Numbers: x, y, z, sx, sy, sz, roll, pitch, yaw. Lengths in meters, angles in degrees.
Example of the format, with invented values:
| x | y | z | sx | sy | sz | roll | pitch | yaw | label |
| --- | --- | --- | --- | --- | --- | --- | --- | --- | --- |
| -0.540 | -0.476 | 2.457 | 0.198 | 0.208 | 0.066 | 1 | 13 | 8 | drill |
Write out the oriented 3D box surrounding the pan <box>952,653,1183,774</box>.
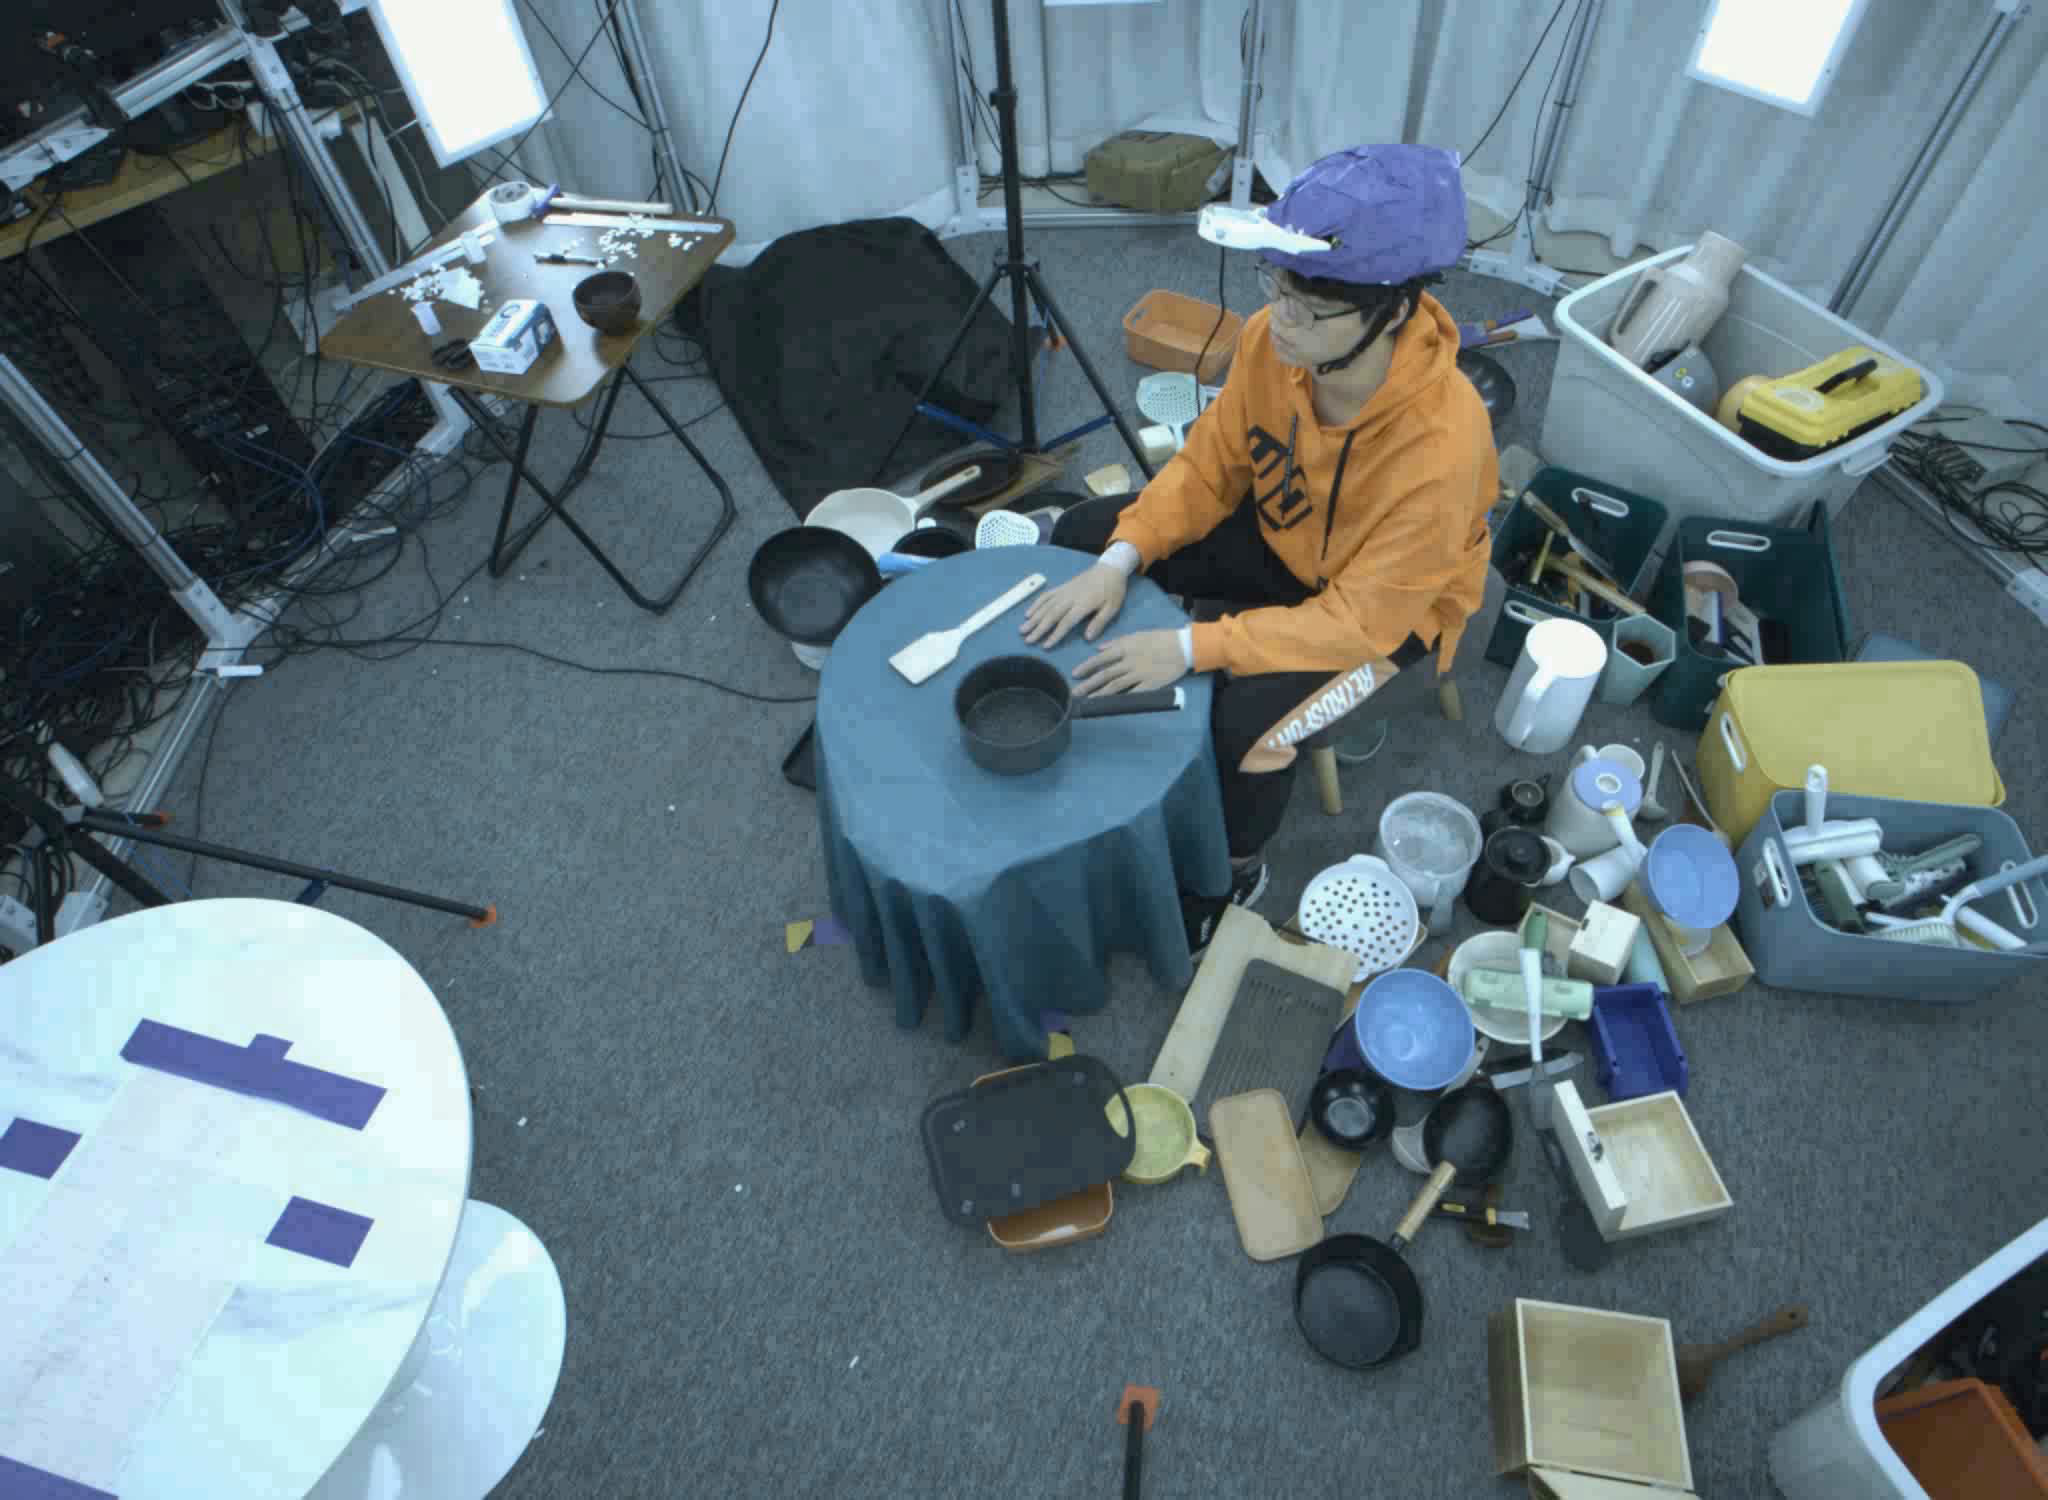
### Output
| x | y | z | sx | sy | sz | roll | pitch | yaw | label |
| --- | --- | --- | --- | --- | --- | --- | --- | --- | --- |
| 0.064 | -0.051 | 1.769 | 0.327 | 0.087 | 0.170 | 2 | 56 | 6 | pan |

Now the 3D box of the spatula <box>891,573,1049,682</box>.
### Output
| x | y | z | sx | sy | sz | roll | pitch | yaw | label |
| --- | --- | --- | --- | --- | --- | --- | --- | --- | --- |
| -0.077 | -0.201 | 1.926 | 0.295 | 0.011 | 0.071 | -36 | 57 | -21 | spatula |
